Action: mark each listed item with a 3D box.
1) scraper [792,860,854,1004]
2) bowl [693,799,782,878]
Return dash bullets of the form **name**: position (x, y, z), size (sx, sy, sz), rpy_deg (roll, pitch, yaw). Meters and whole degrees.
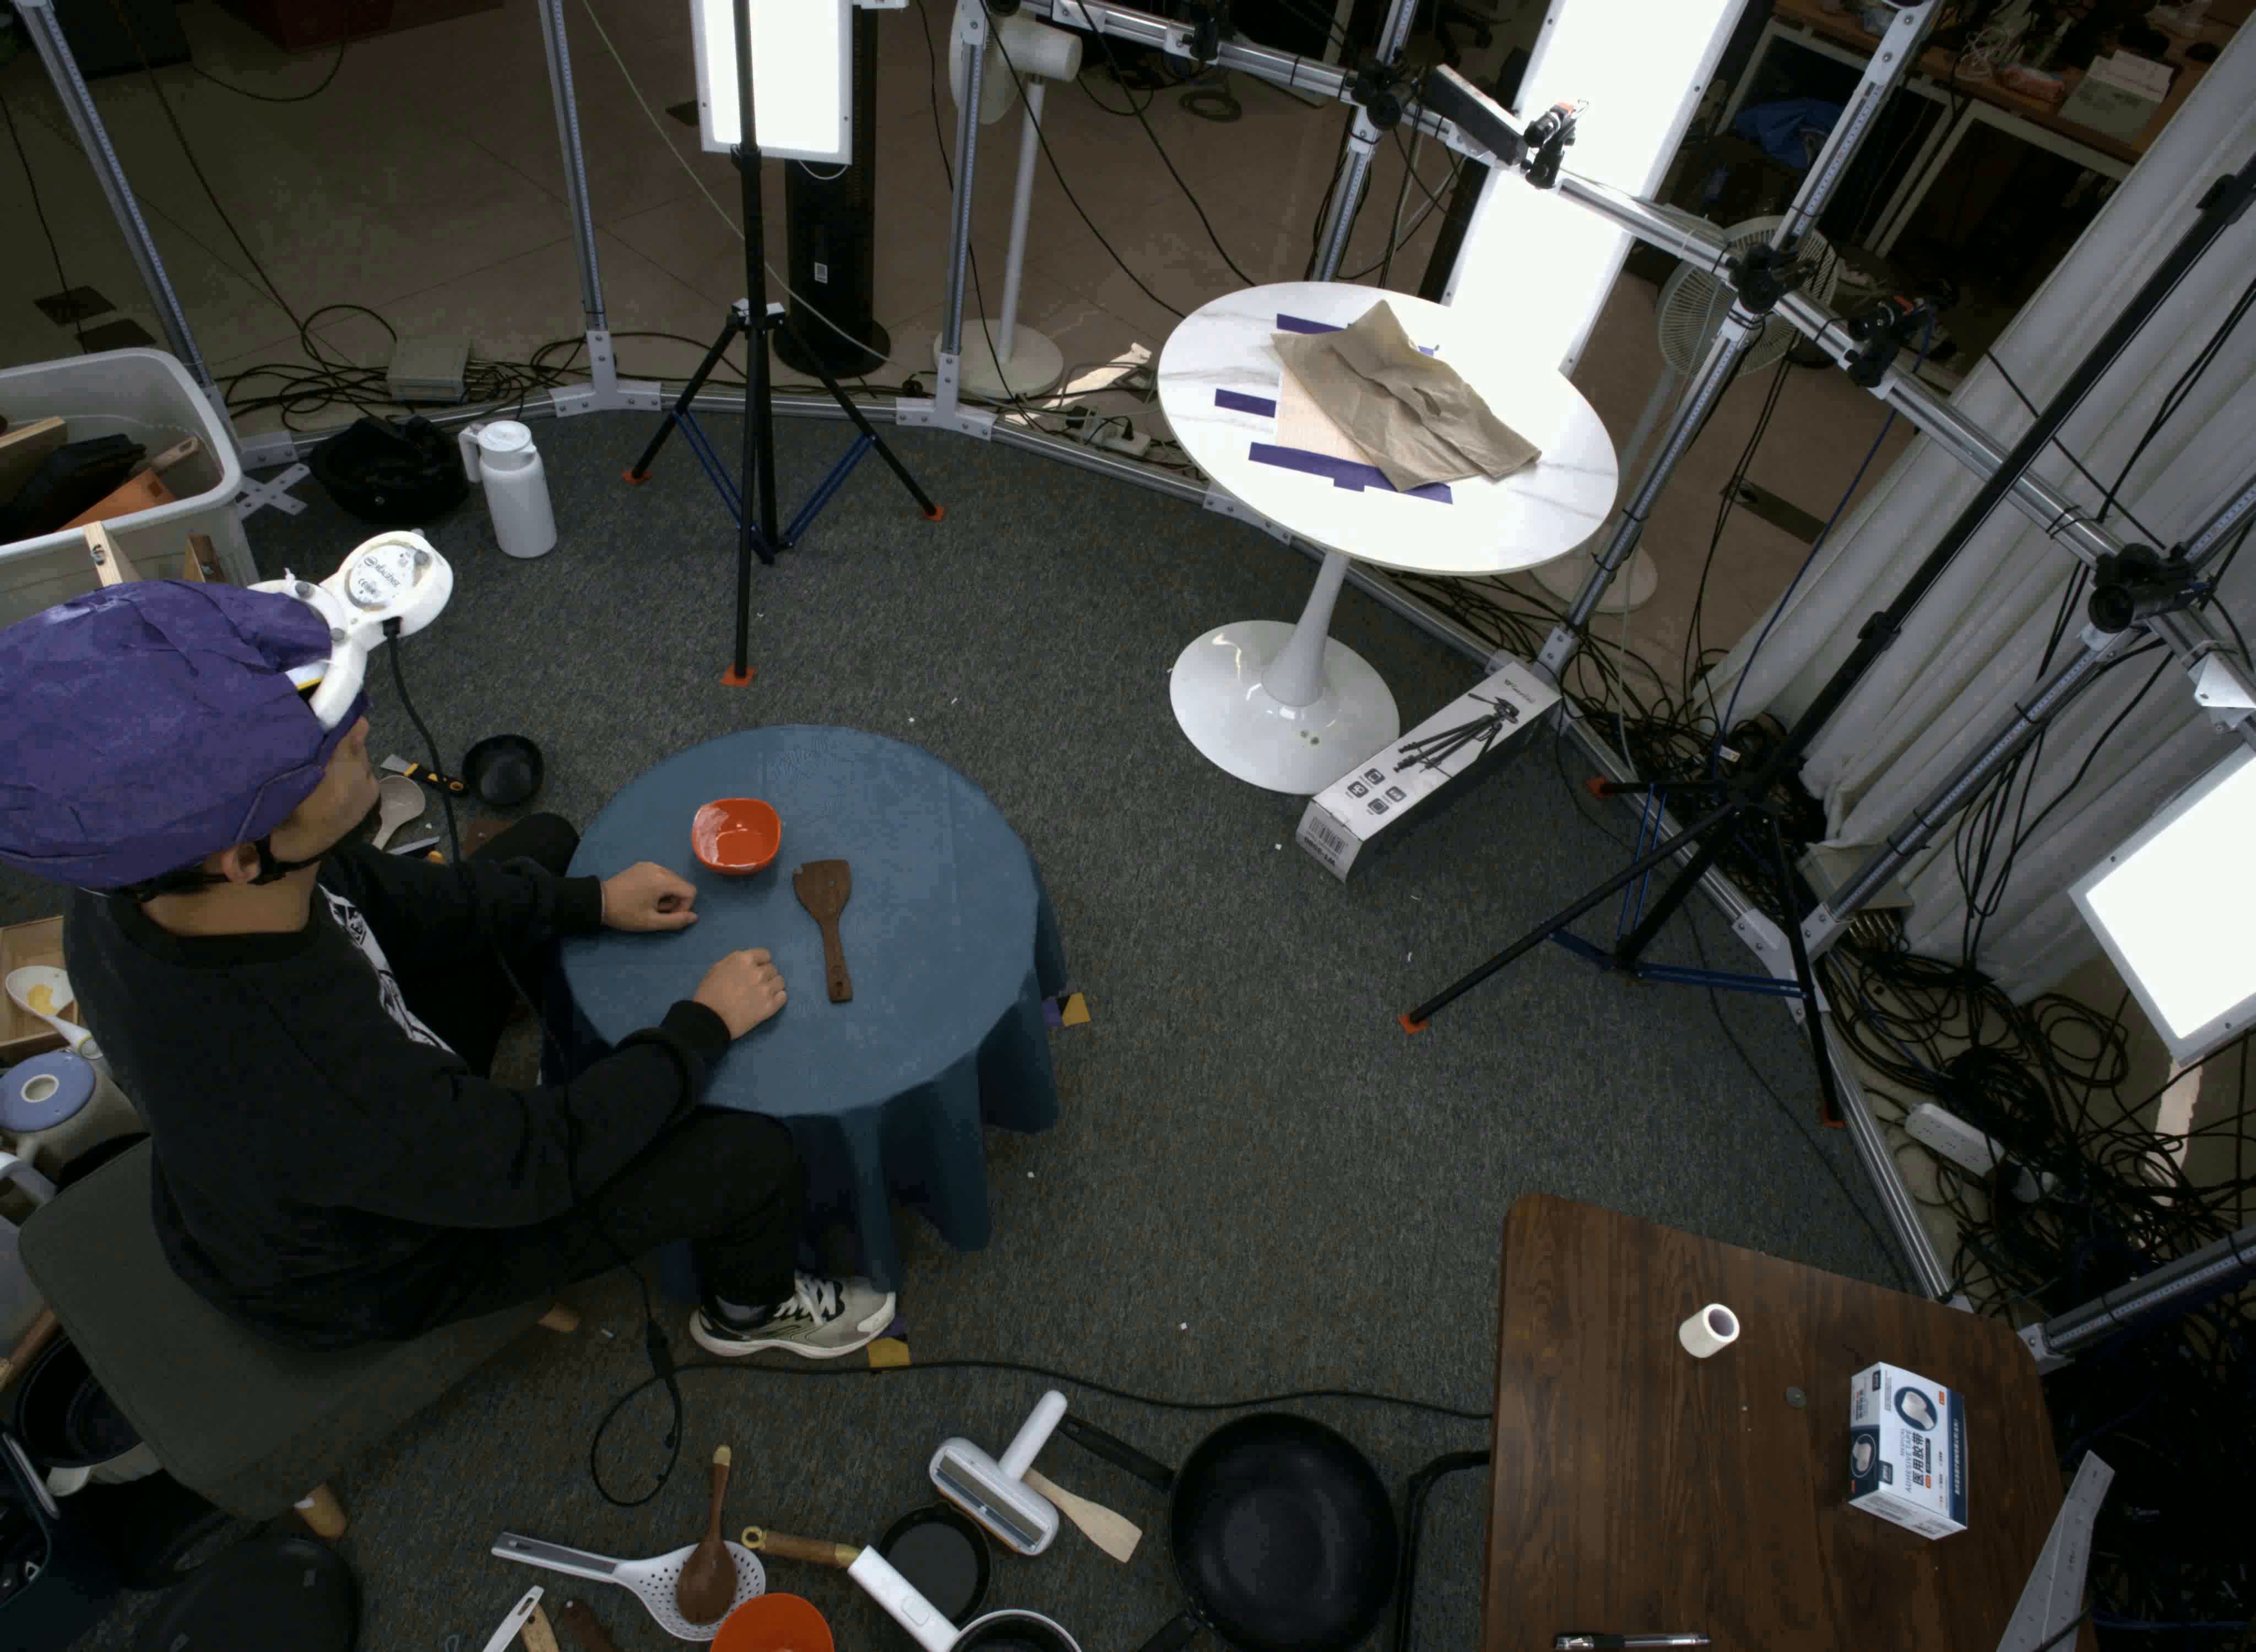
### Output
- **scraper**: position (-0.375, 0.130, 1.640), size (0.076, 0.011, 0.206), rpy_deg (-7, 57, -17)
- **bowl**: position (-0.501, 0.023, 1.662), size (0.119, 0.052, 0.117), rpy_deg (8, 53, -9)
